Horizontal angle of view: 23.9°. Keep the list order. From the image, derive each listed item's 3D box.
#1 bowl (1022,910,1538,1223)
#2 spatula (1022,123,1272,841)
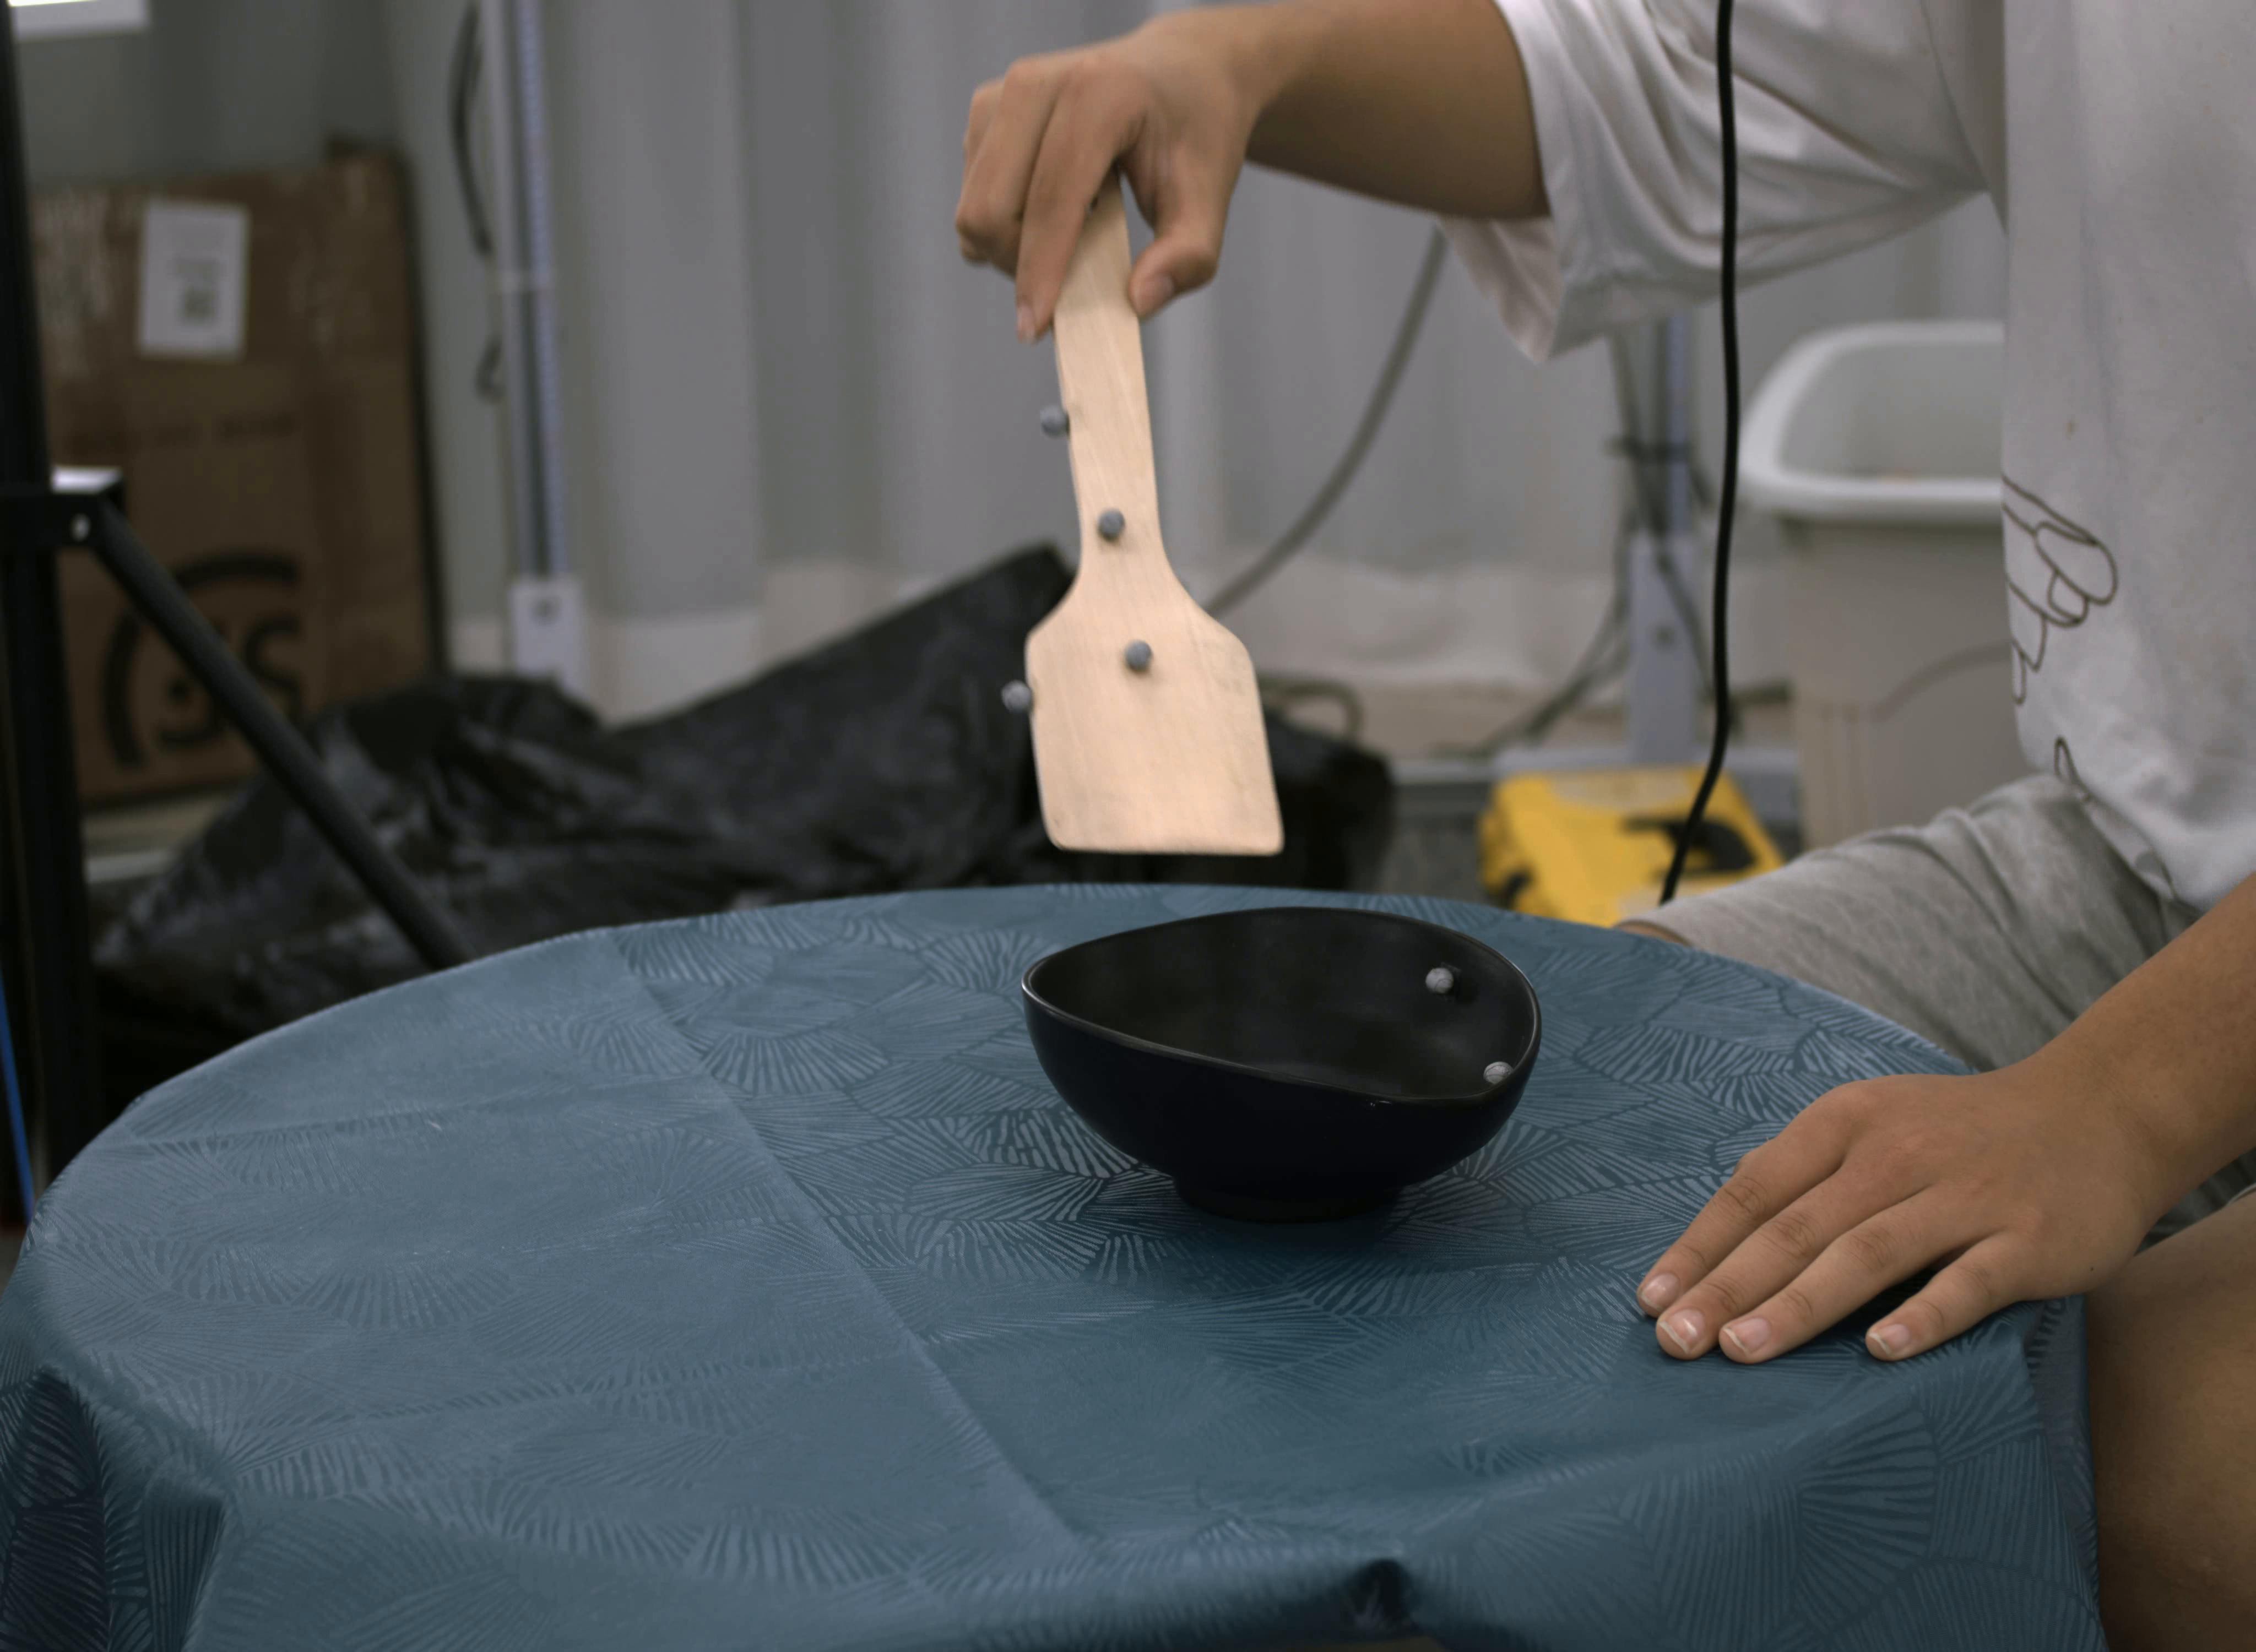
[{"bbox_3d":[0.046,0.075,1.554,0.134,0.067,0.174,-15,22,-41],"label":"bowl"},{"bbox_3d":[-0.006,-0.111,1.650,0.071,0.010,0.297,1,52,-9],"label":"spatula"}]
